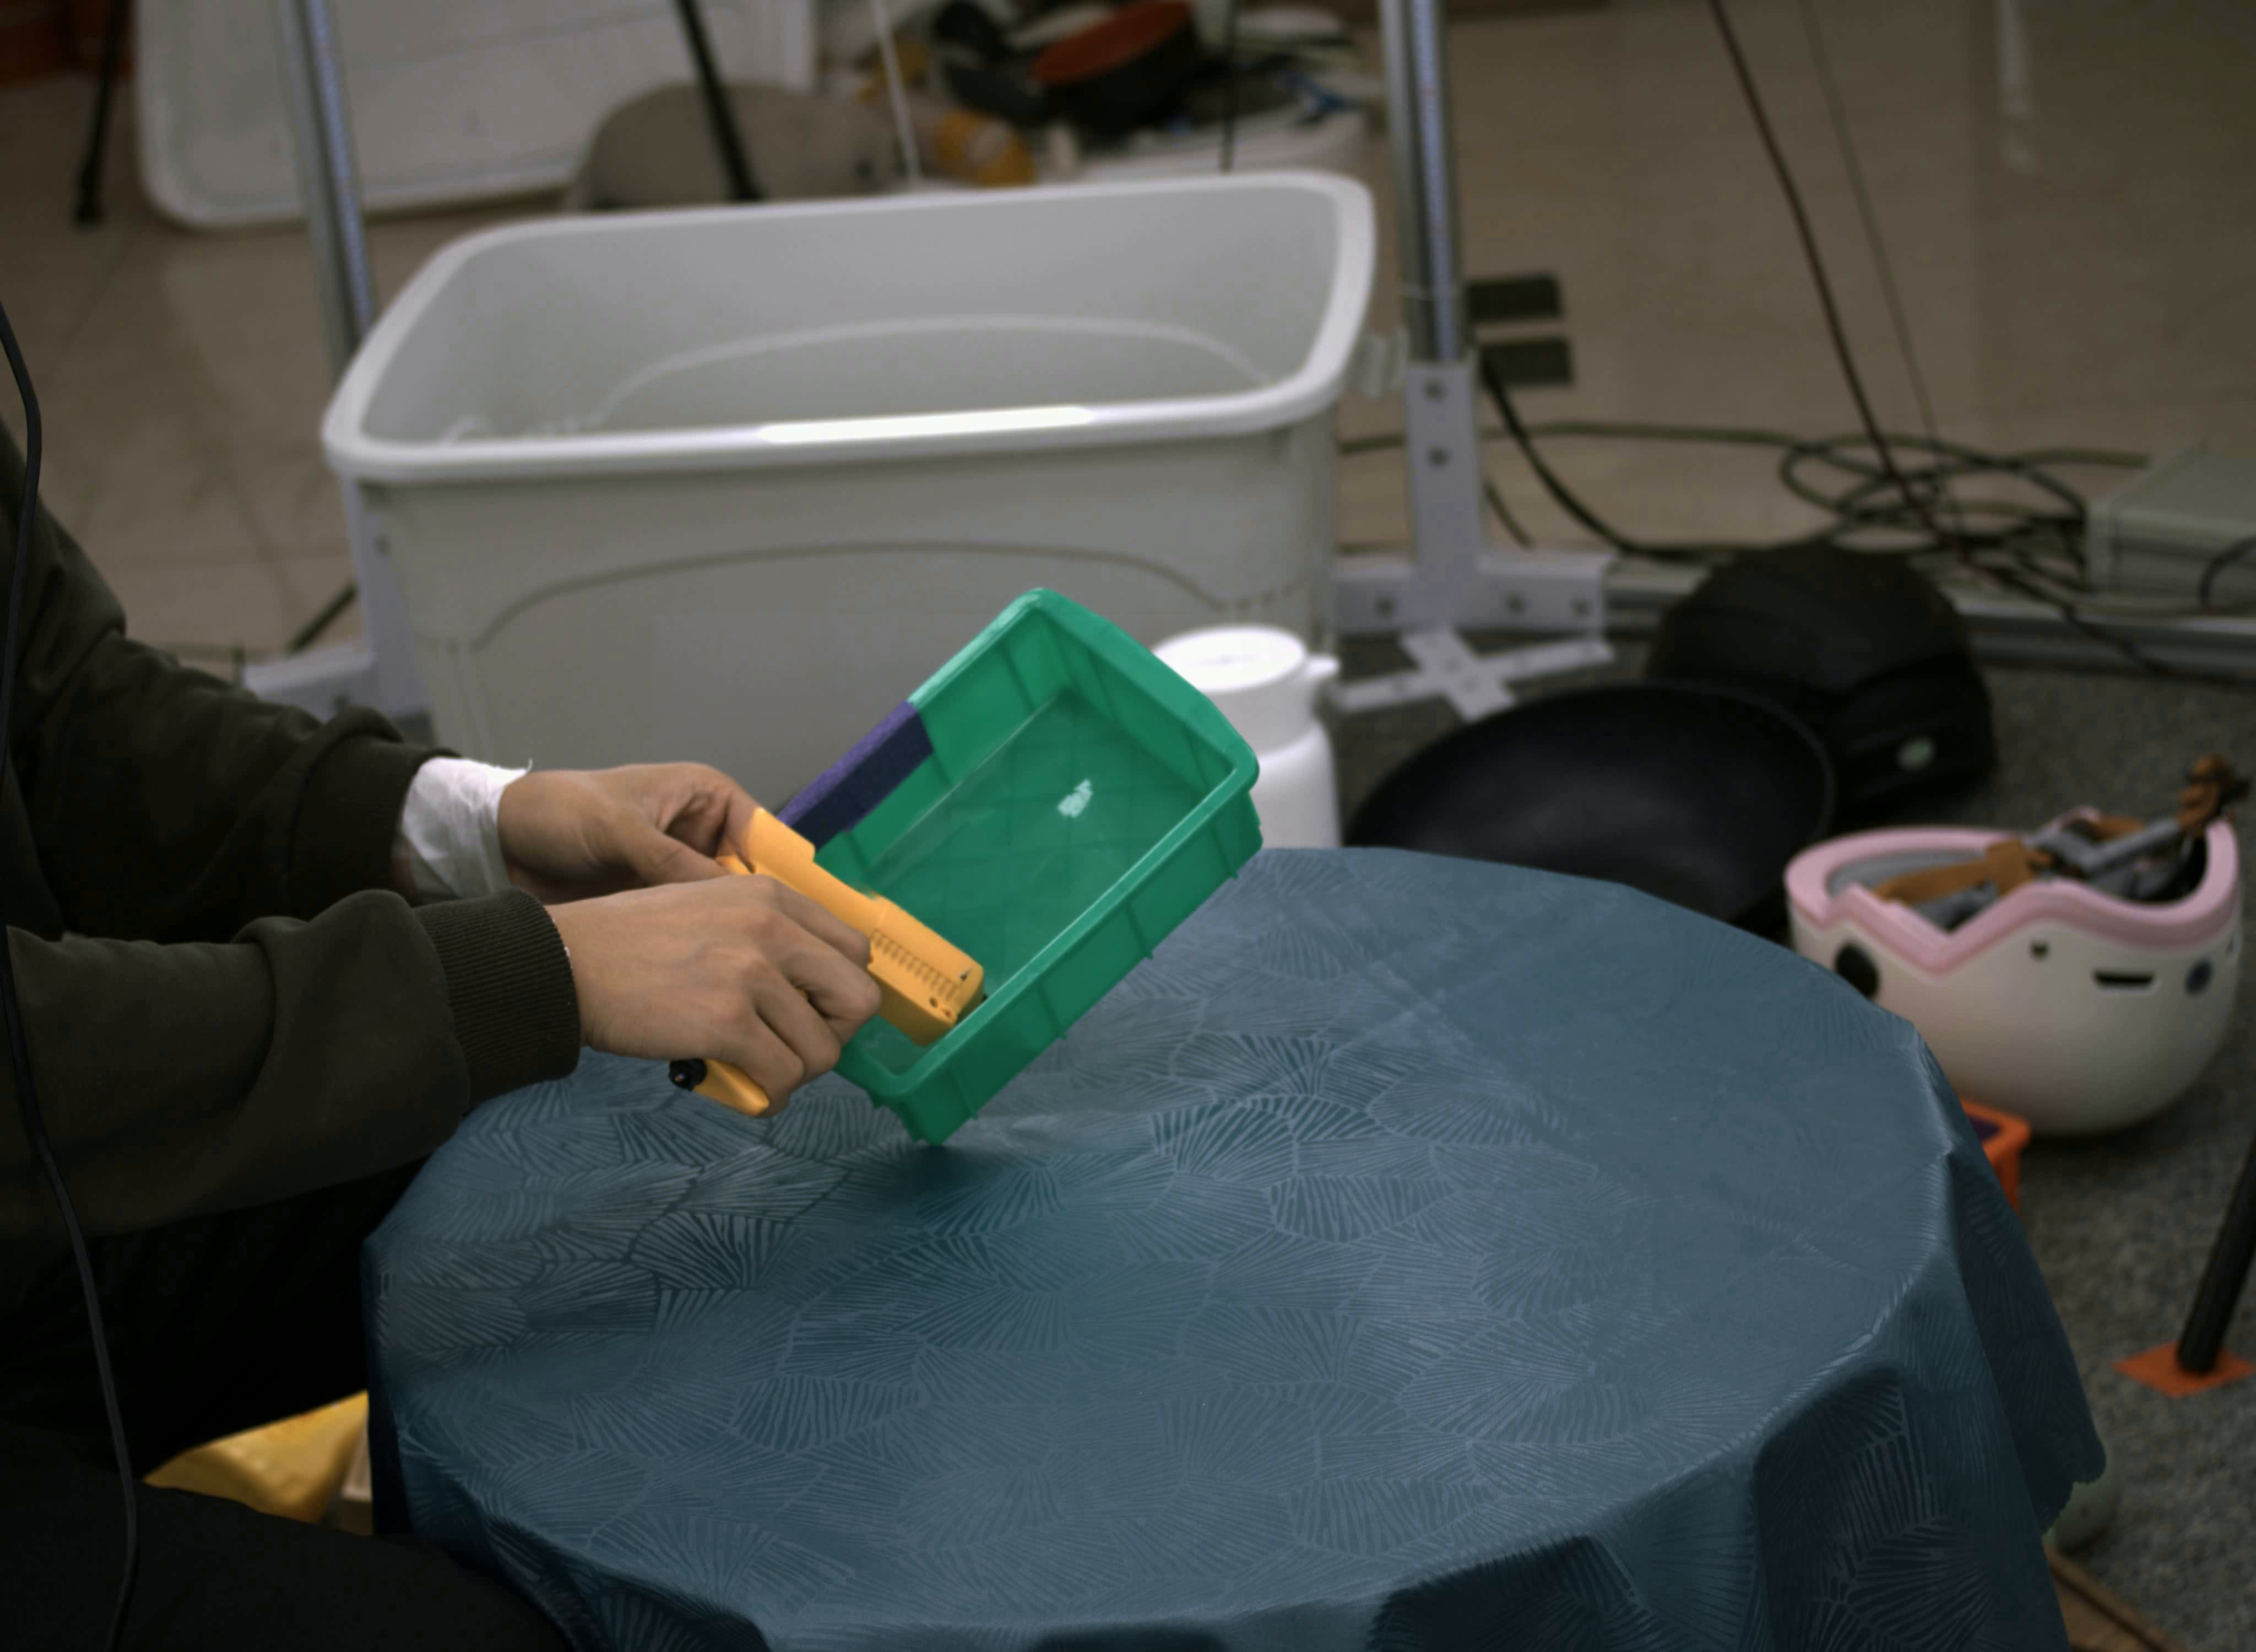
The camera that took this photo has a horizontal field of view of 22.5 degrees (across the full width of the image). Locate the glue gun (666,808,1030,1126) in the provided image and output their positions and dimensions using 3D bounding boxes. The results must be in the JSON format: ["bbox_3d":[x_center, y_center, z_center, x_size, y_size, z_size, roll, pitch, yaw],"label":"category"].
[{"bbox_3d":[-0.102,0.078,2.150,0.031,0.152,0.131,-35,33,41],"label":"glue gun"}]

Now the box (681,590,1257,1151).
[{"bbox_3d":[-0.057,0.021,2.219,0.209,0.066,0.137,-45,57,-11],"label":"box"}]
